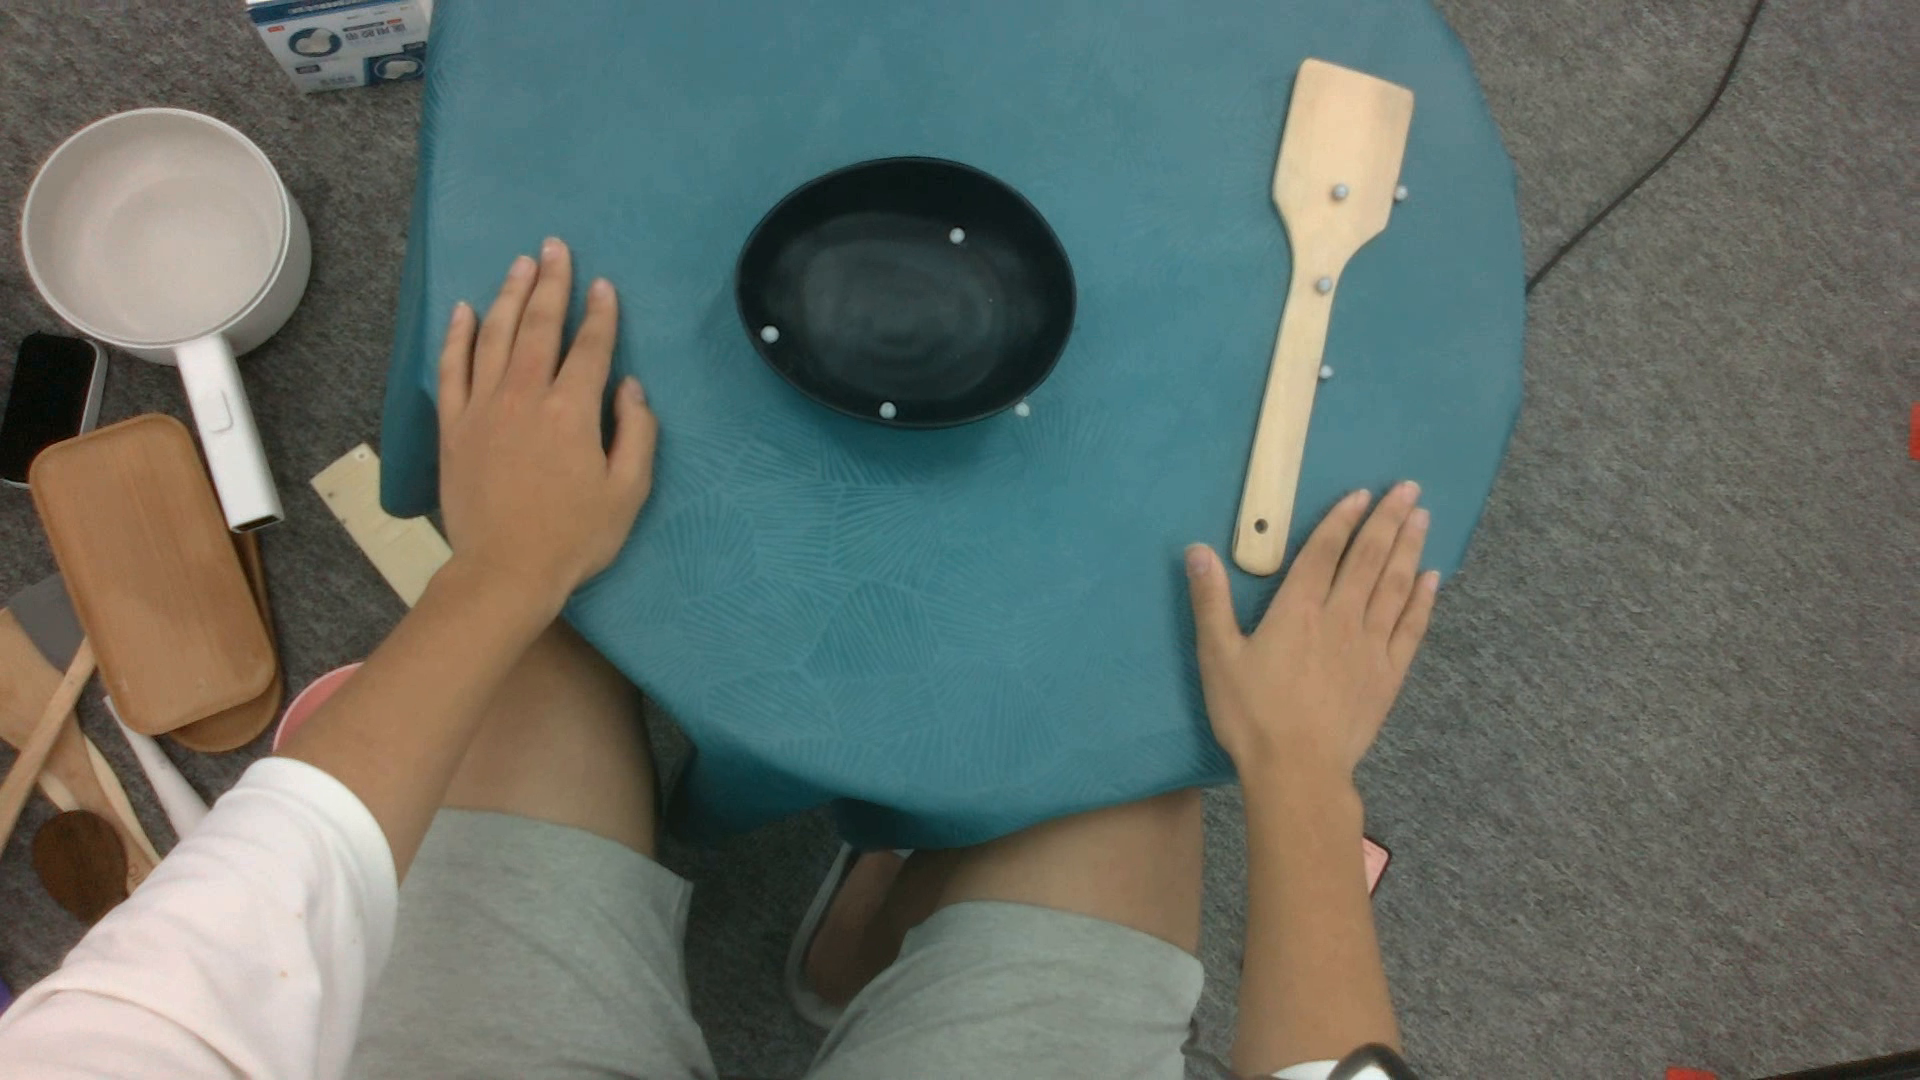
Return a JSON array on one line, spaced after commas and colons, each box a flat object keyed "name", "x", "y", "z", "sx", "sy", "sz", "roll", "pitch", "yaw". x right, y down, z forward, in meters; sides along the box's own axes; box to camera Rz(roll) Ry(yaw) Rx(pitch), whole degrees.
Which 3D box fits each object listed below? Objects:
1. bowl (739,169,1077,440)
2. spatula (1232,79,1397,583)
[{"name": "bowl", "x": -0.028, "y": -0.114, "z": 0.712, "sx": 0.170, "sy": 0.066, "sz": 0.137, "roll": 0, "pitch": 82, "yaw": -7}, {"name": "spatula", "x": 0.191, "y": -0.118, "z": 0.773, "sx": 0.072, "sy": 0.010, "sz": 0.293, "roll": 14, "pitch": 80, "yaw": -8}]
